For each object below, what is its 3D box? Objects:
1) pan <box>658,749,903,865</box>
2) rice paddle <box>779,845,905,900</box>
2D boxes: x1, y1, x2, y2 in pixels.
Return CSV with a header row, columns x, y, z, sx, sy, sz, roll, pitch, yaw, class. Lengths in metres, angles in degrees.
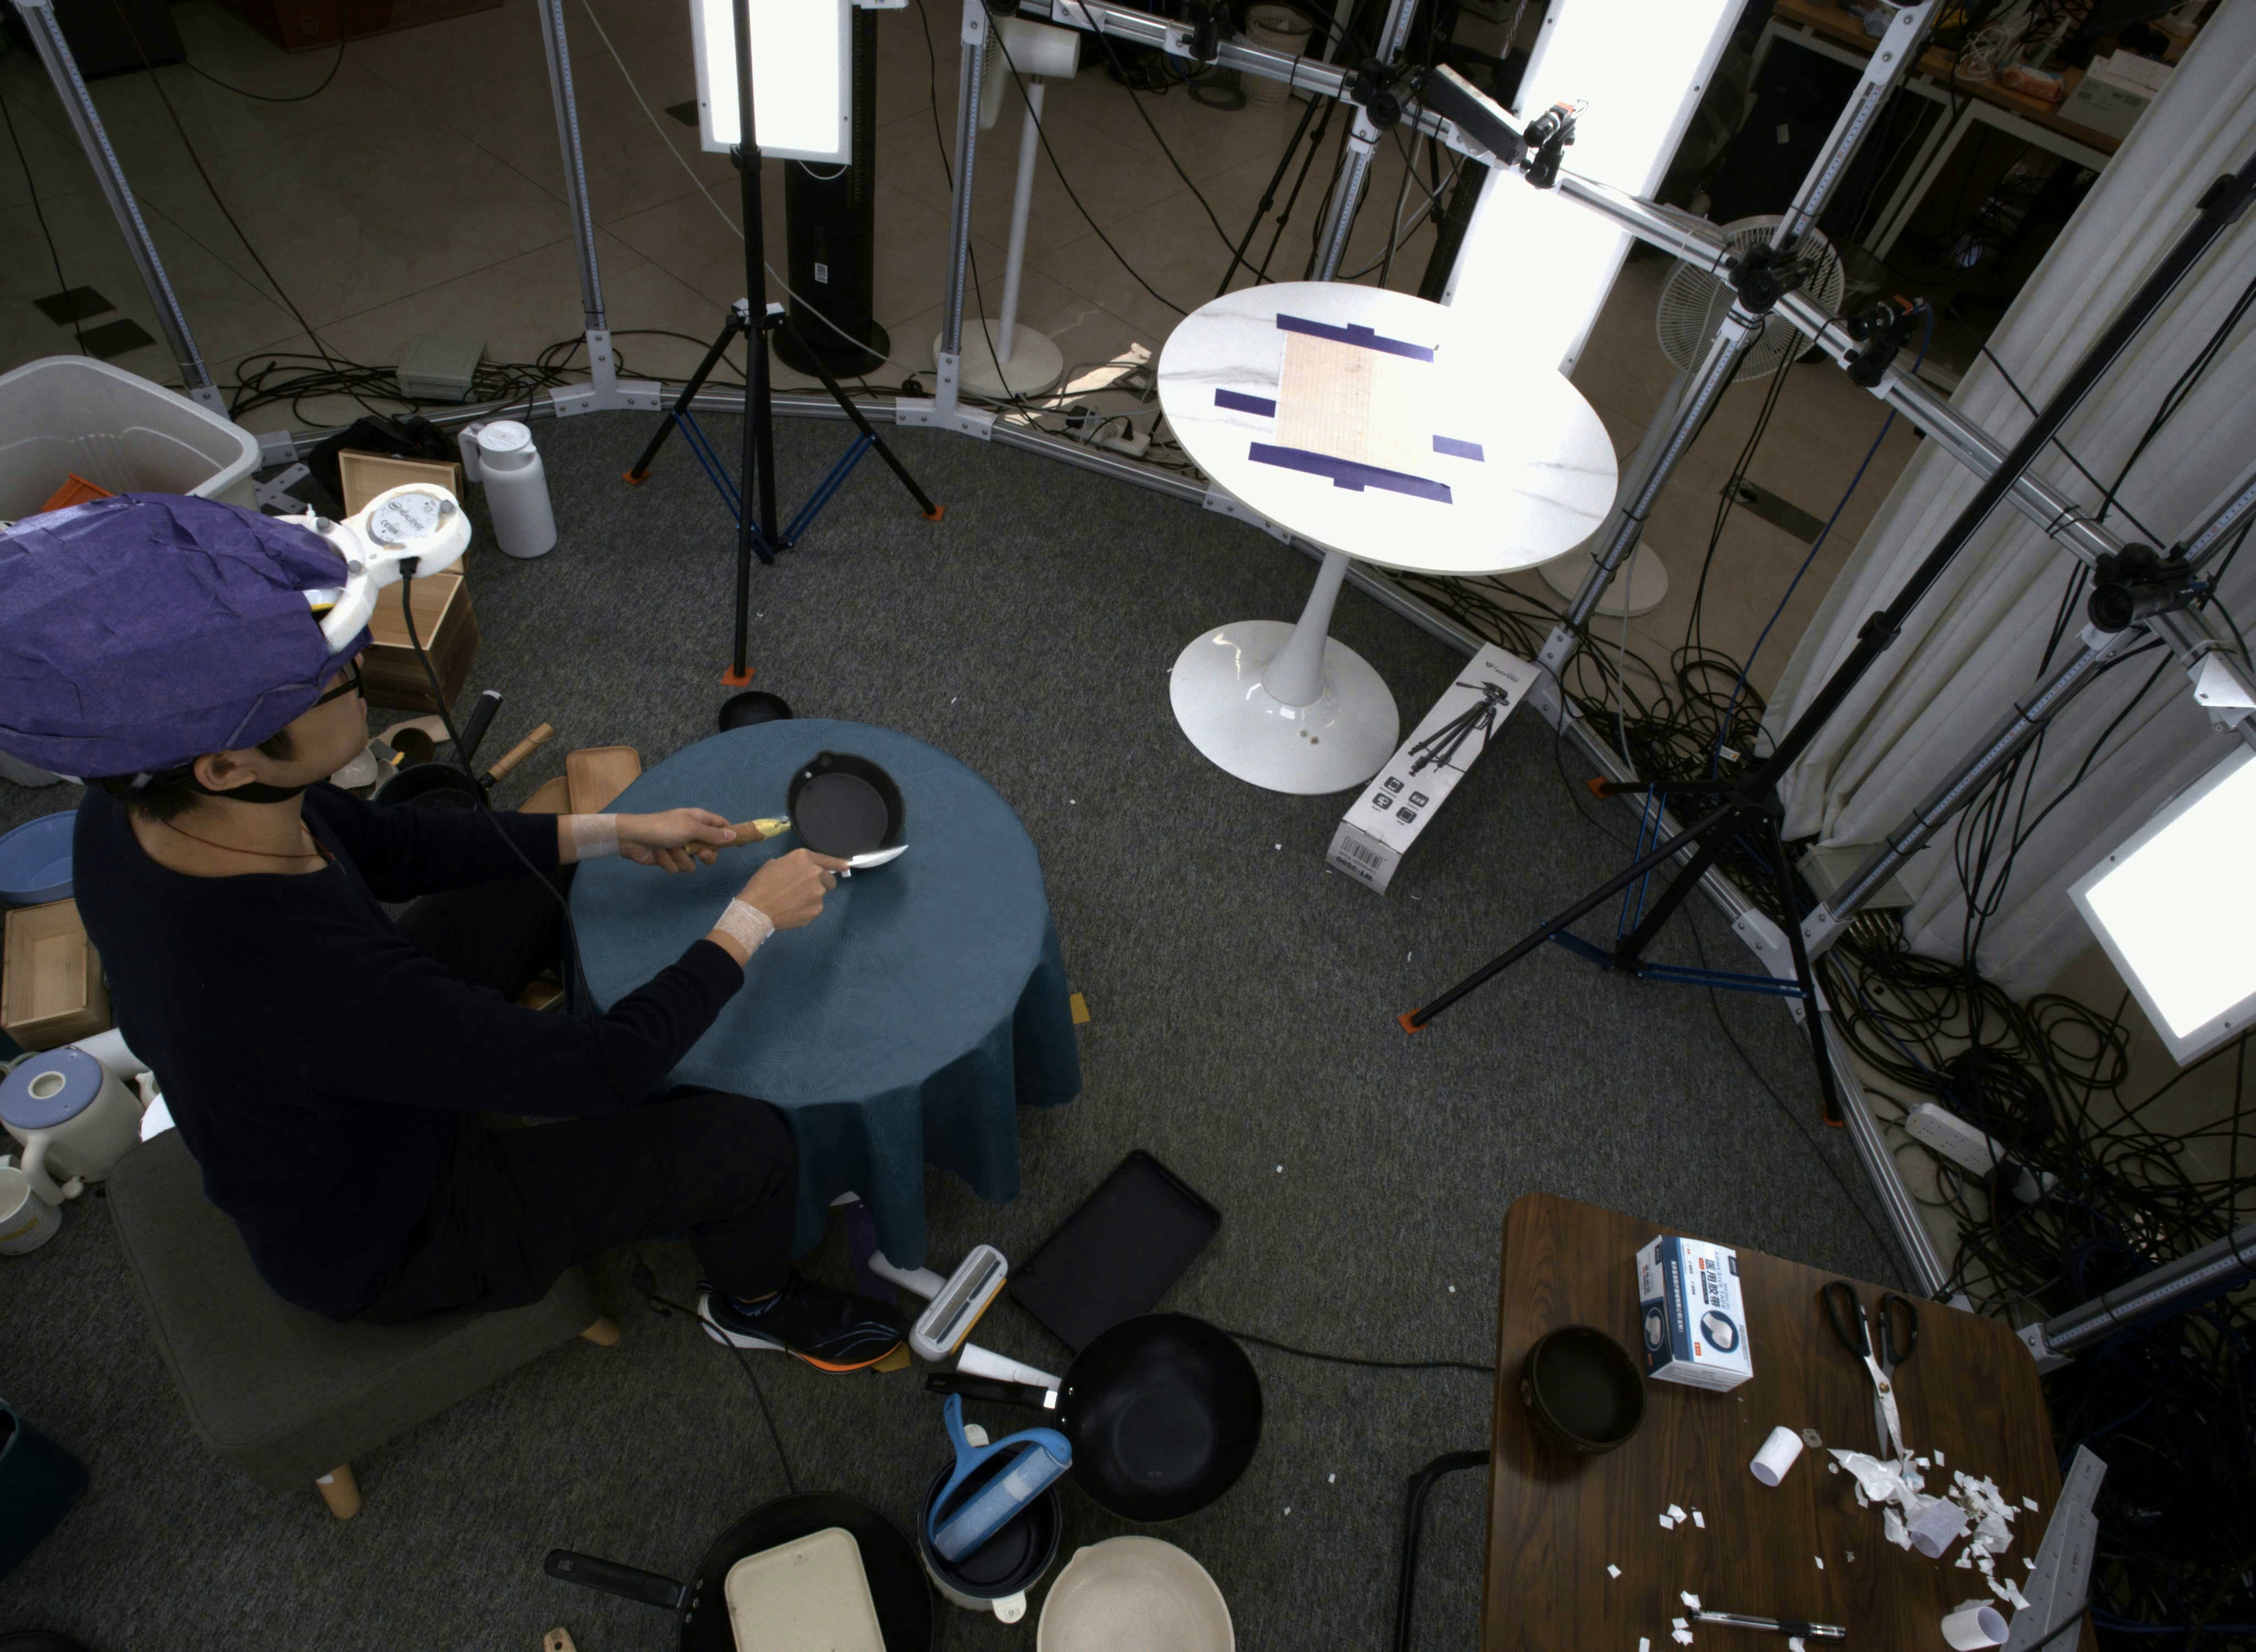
x,y,z,sx,sy,sz,roll,pitch,yaw,class
-0.441,-0.006,1.648,0.327,0.049,0.167,-15,74,-34,pan
-0.348,0.046,1.597,0.067,0.030,0.206,-6,11,30,rice paddle
